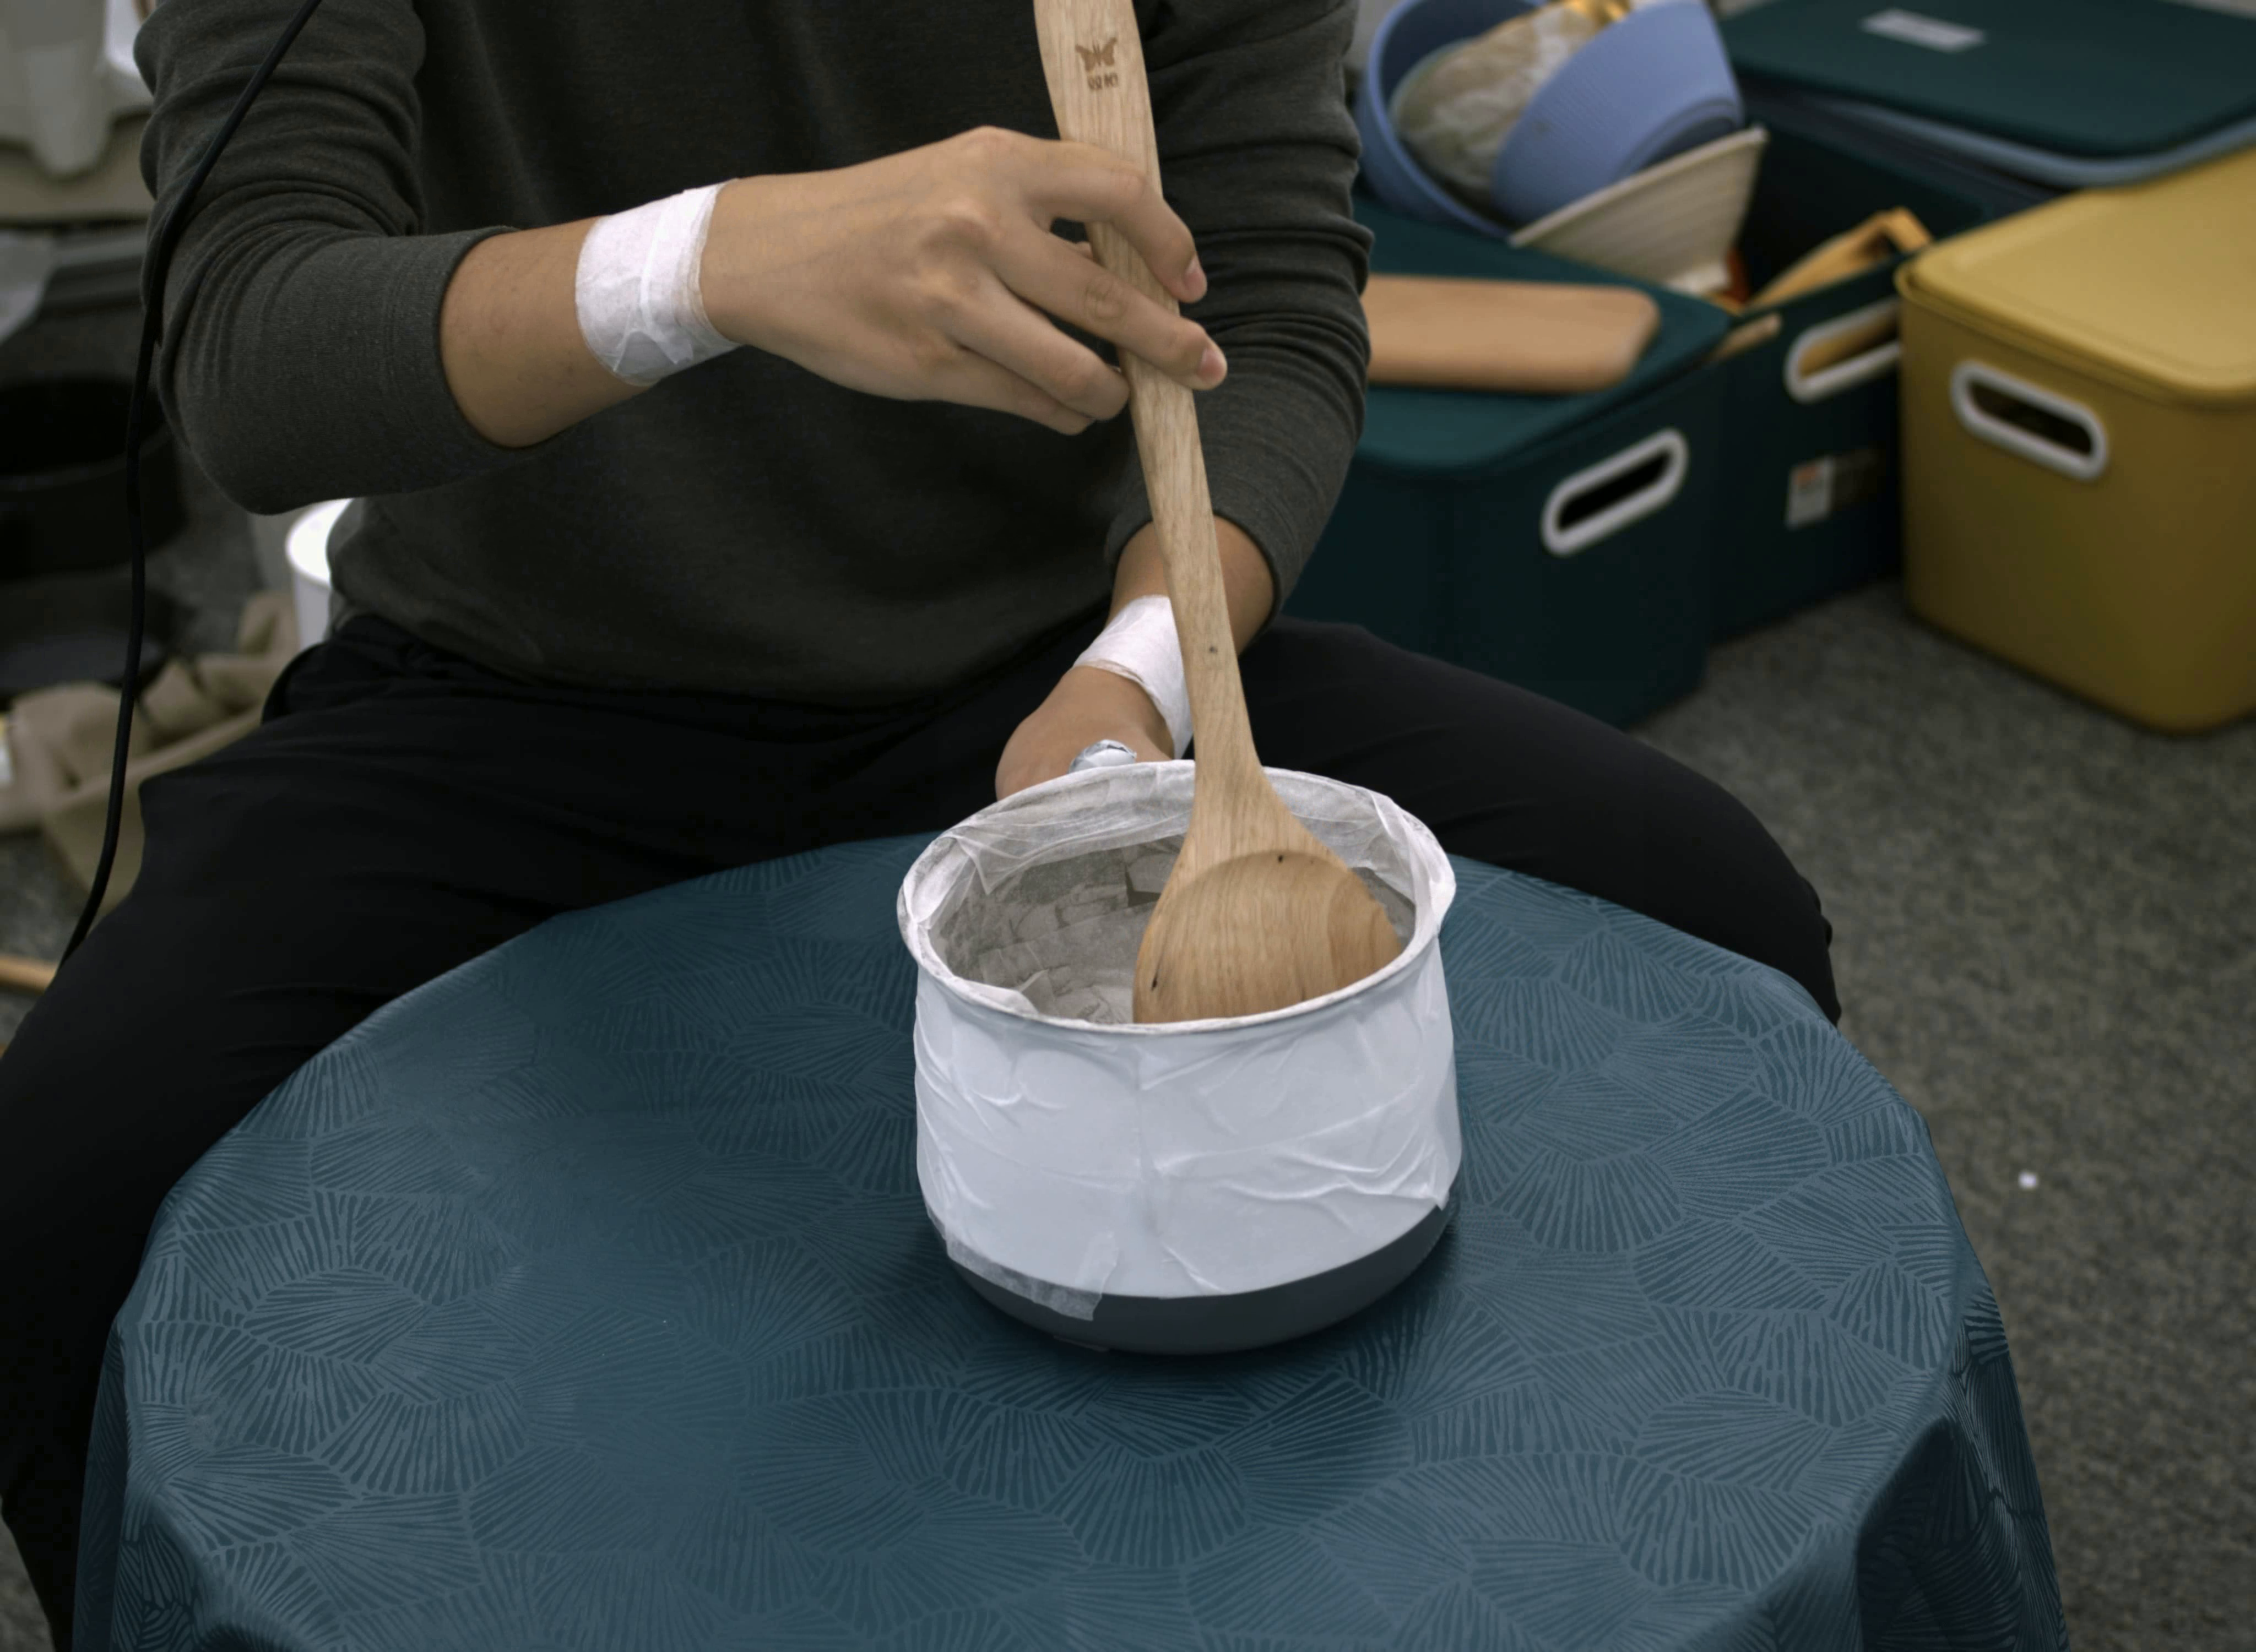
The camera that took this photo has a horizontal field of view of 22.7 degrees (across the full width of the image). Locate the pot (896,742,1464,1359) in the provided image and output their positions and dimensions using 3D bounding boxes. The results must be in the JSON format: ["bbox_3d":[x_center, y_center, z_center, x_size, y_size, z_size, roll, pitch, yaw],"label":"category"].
[{"bbox_3d":[0.012,0.065,1.826,0.178,0.135,0.236,-9,27,-11],"label":"pot"}]

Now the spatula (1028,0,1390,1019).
[{"bbox_3d":[0.013,-0.089,1.748,0.096,0.390,0.018,-15,11,-20],"label":"spatula"}]
